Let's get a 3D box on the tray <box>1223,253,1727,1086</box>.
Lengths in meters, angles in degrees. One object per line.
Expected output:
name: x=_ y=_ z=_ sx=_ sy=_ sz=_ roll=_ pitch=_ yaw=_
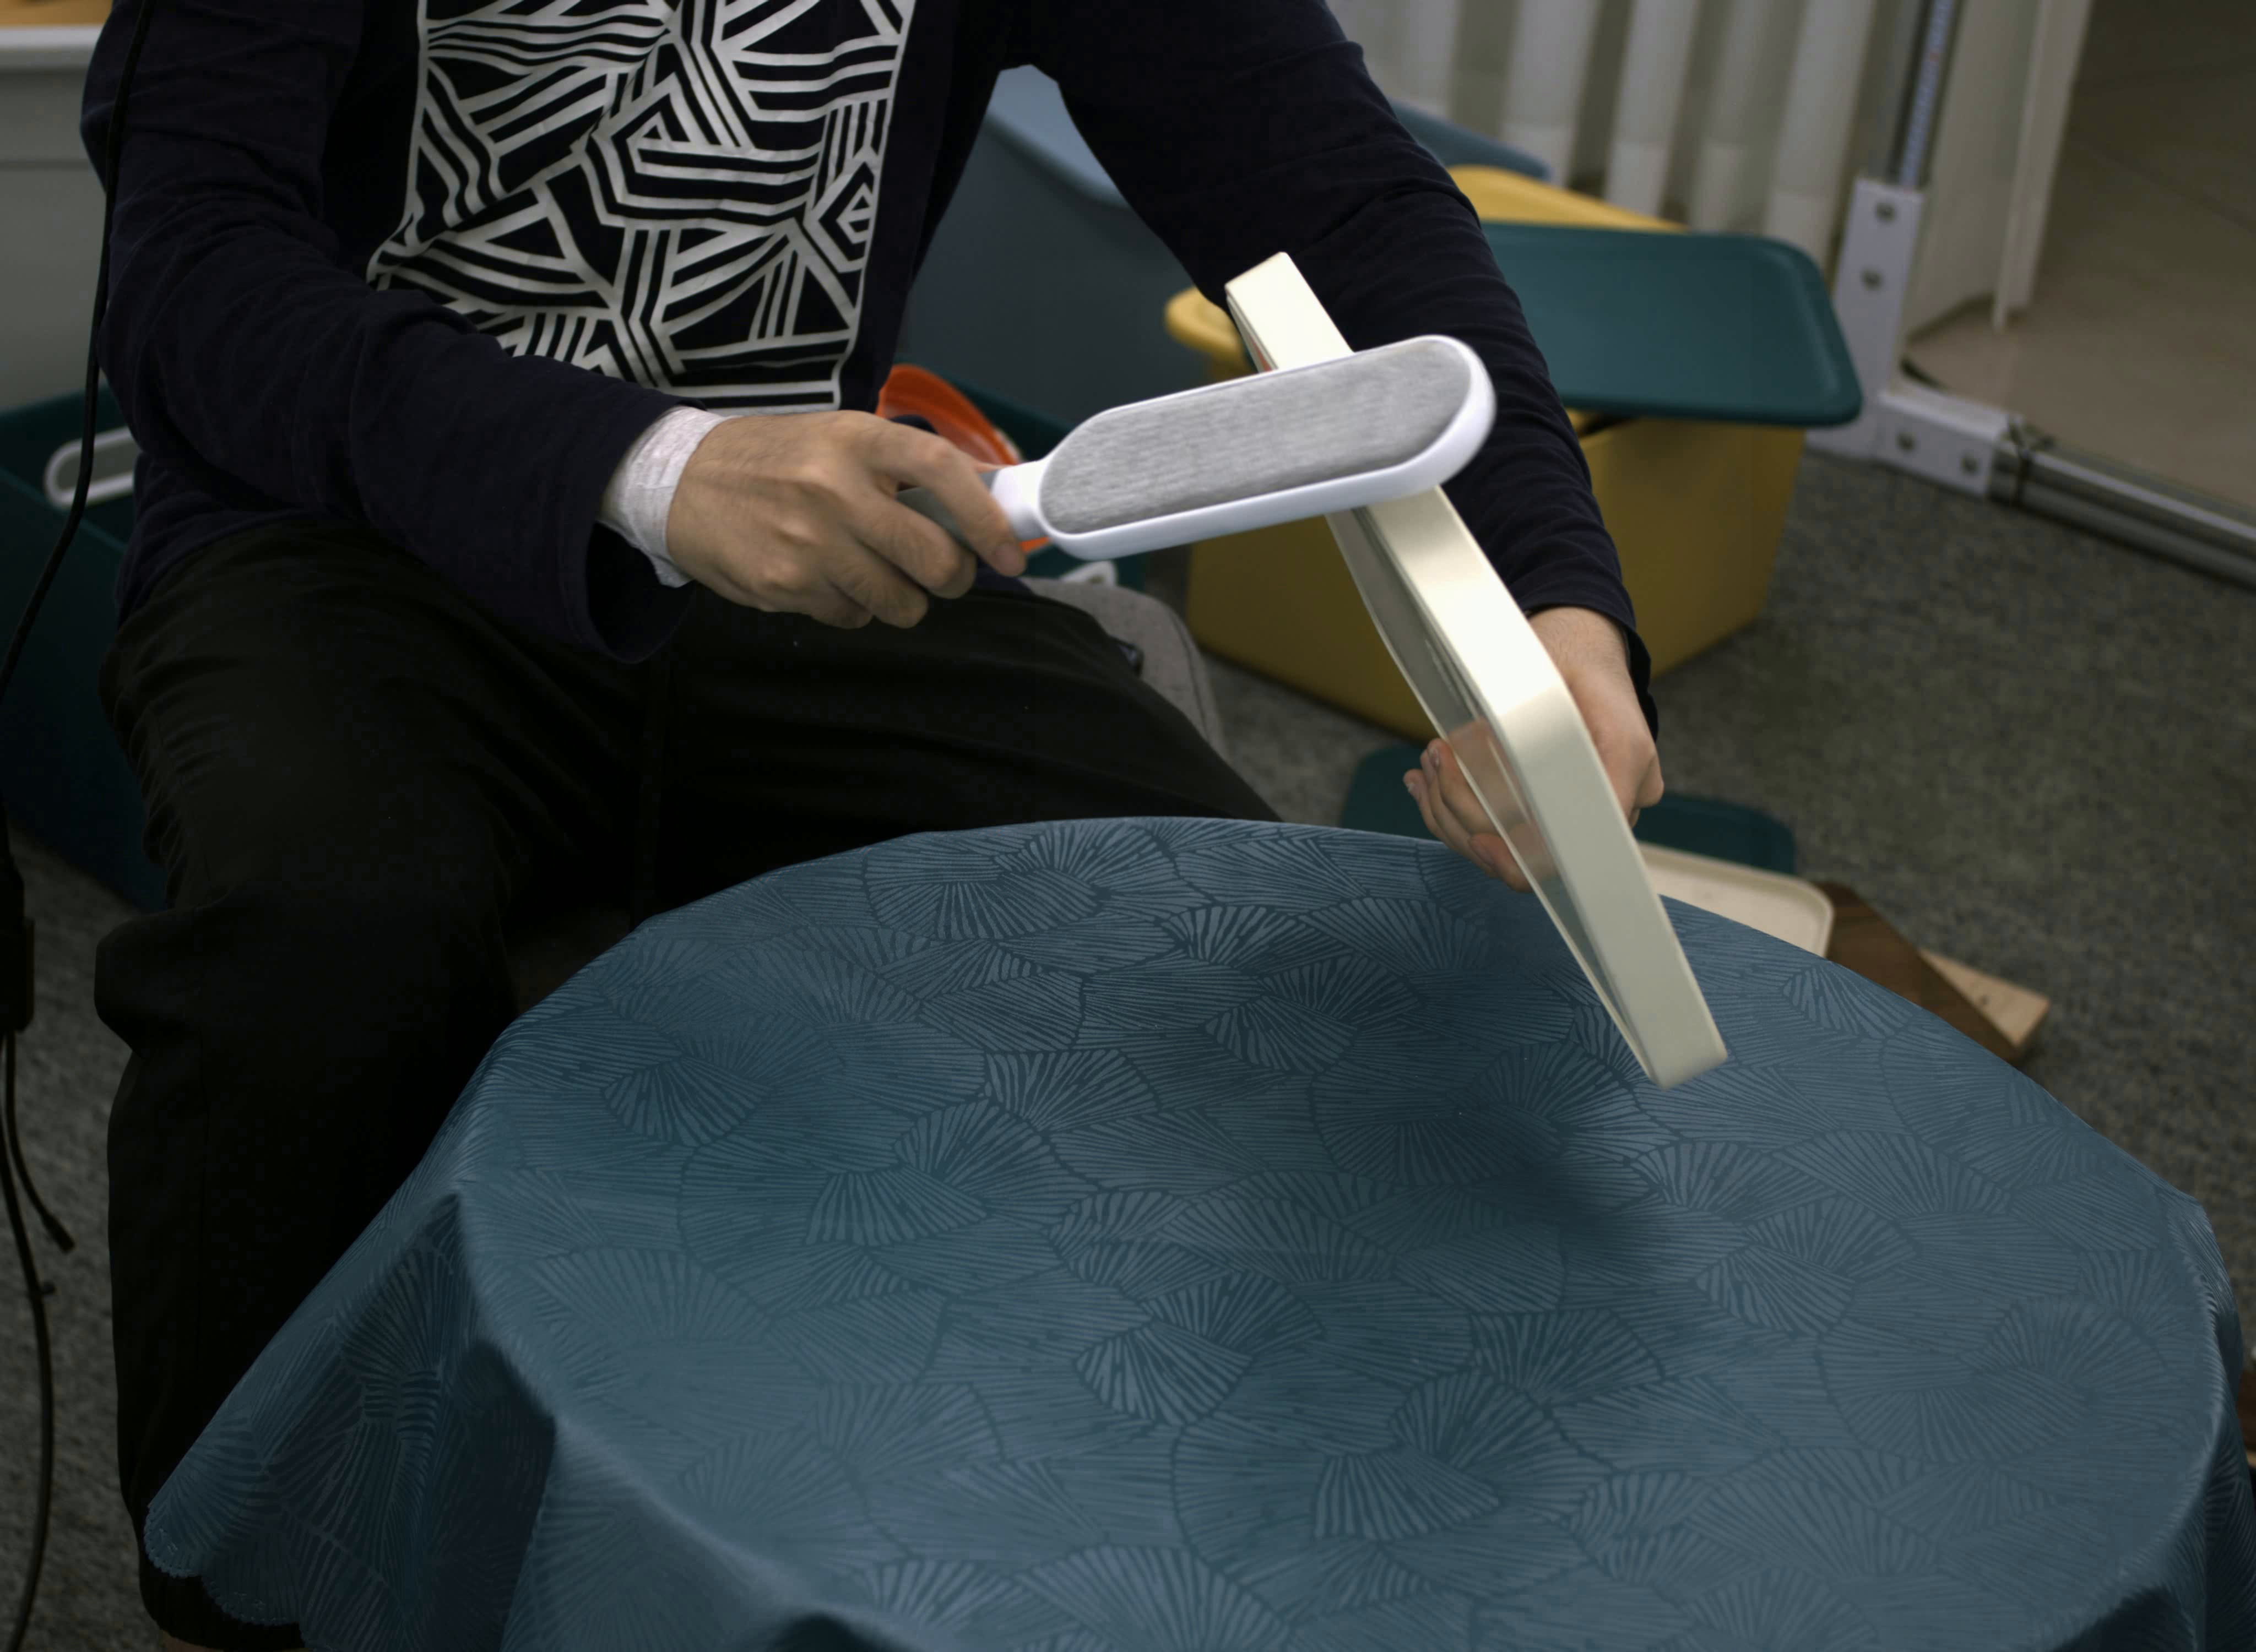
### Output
tray: x=0.116 y=-0.058 z=1.844 sx=0.027 sy=0.190 sz=0.303 roll=-27 pitch=38 yaw=-1

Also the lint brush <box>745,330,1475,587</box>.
lint brush: x=-0.012 y=-0.118 z=1.808 sx=0.310 sy=0.060 sz=0.021 roll=-10 pitch=-32 yaw=37
